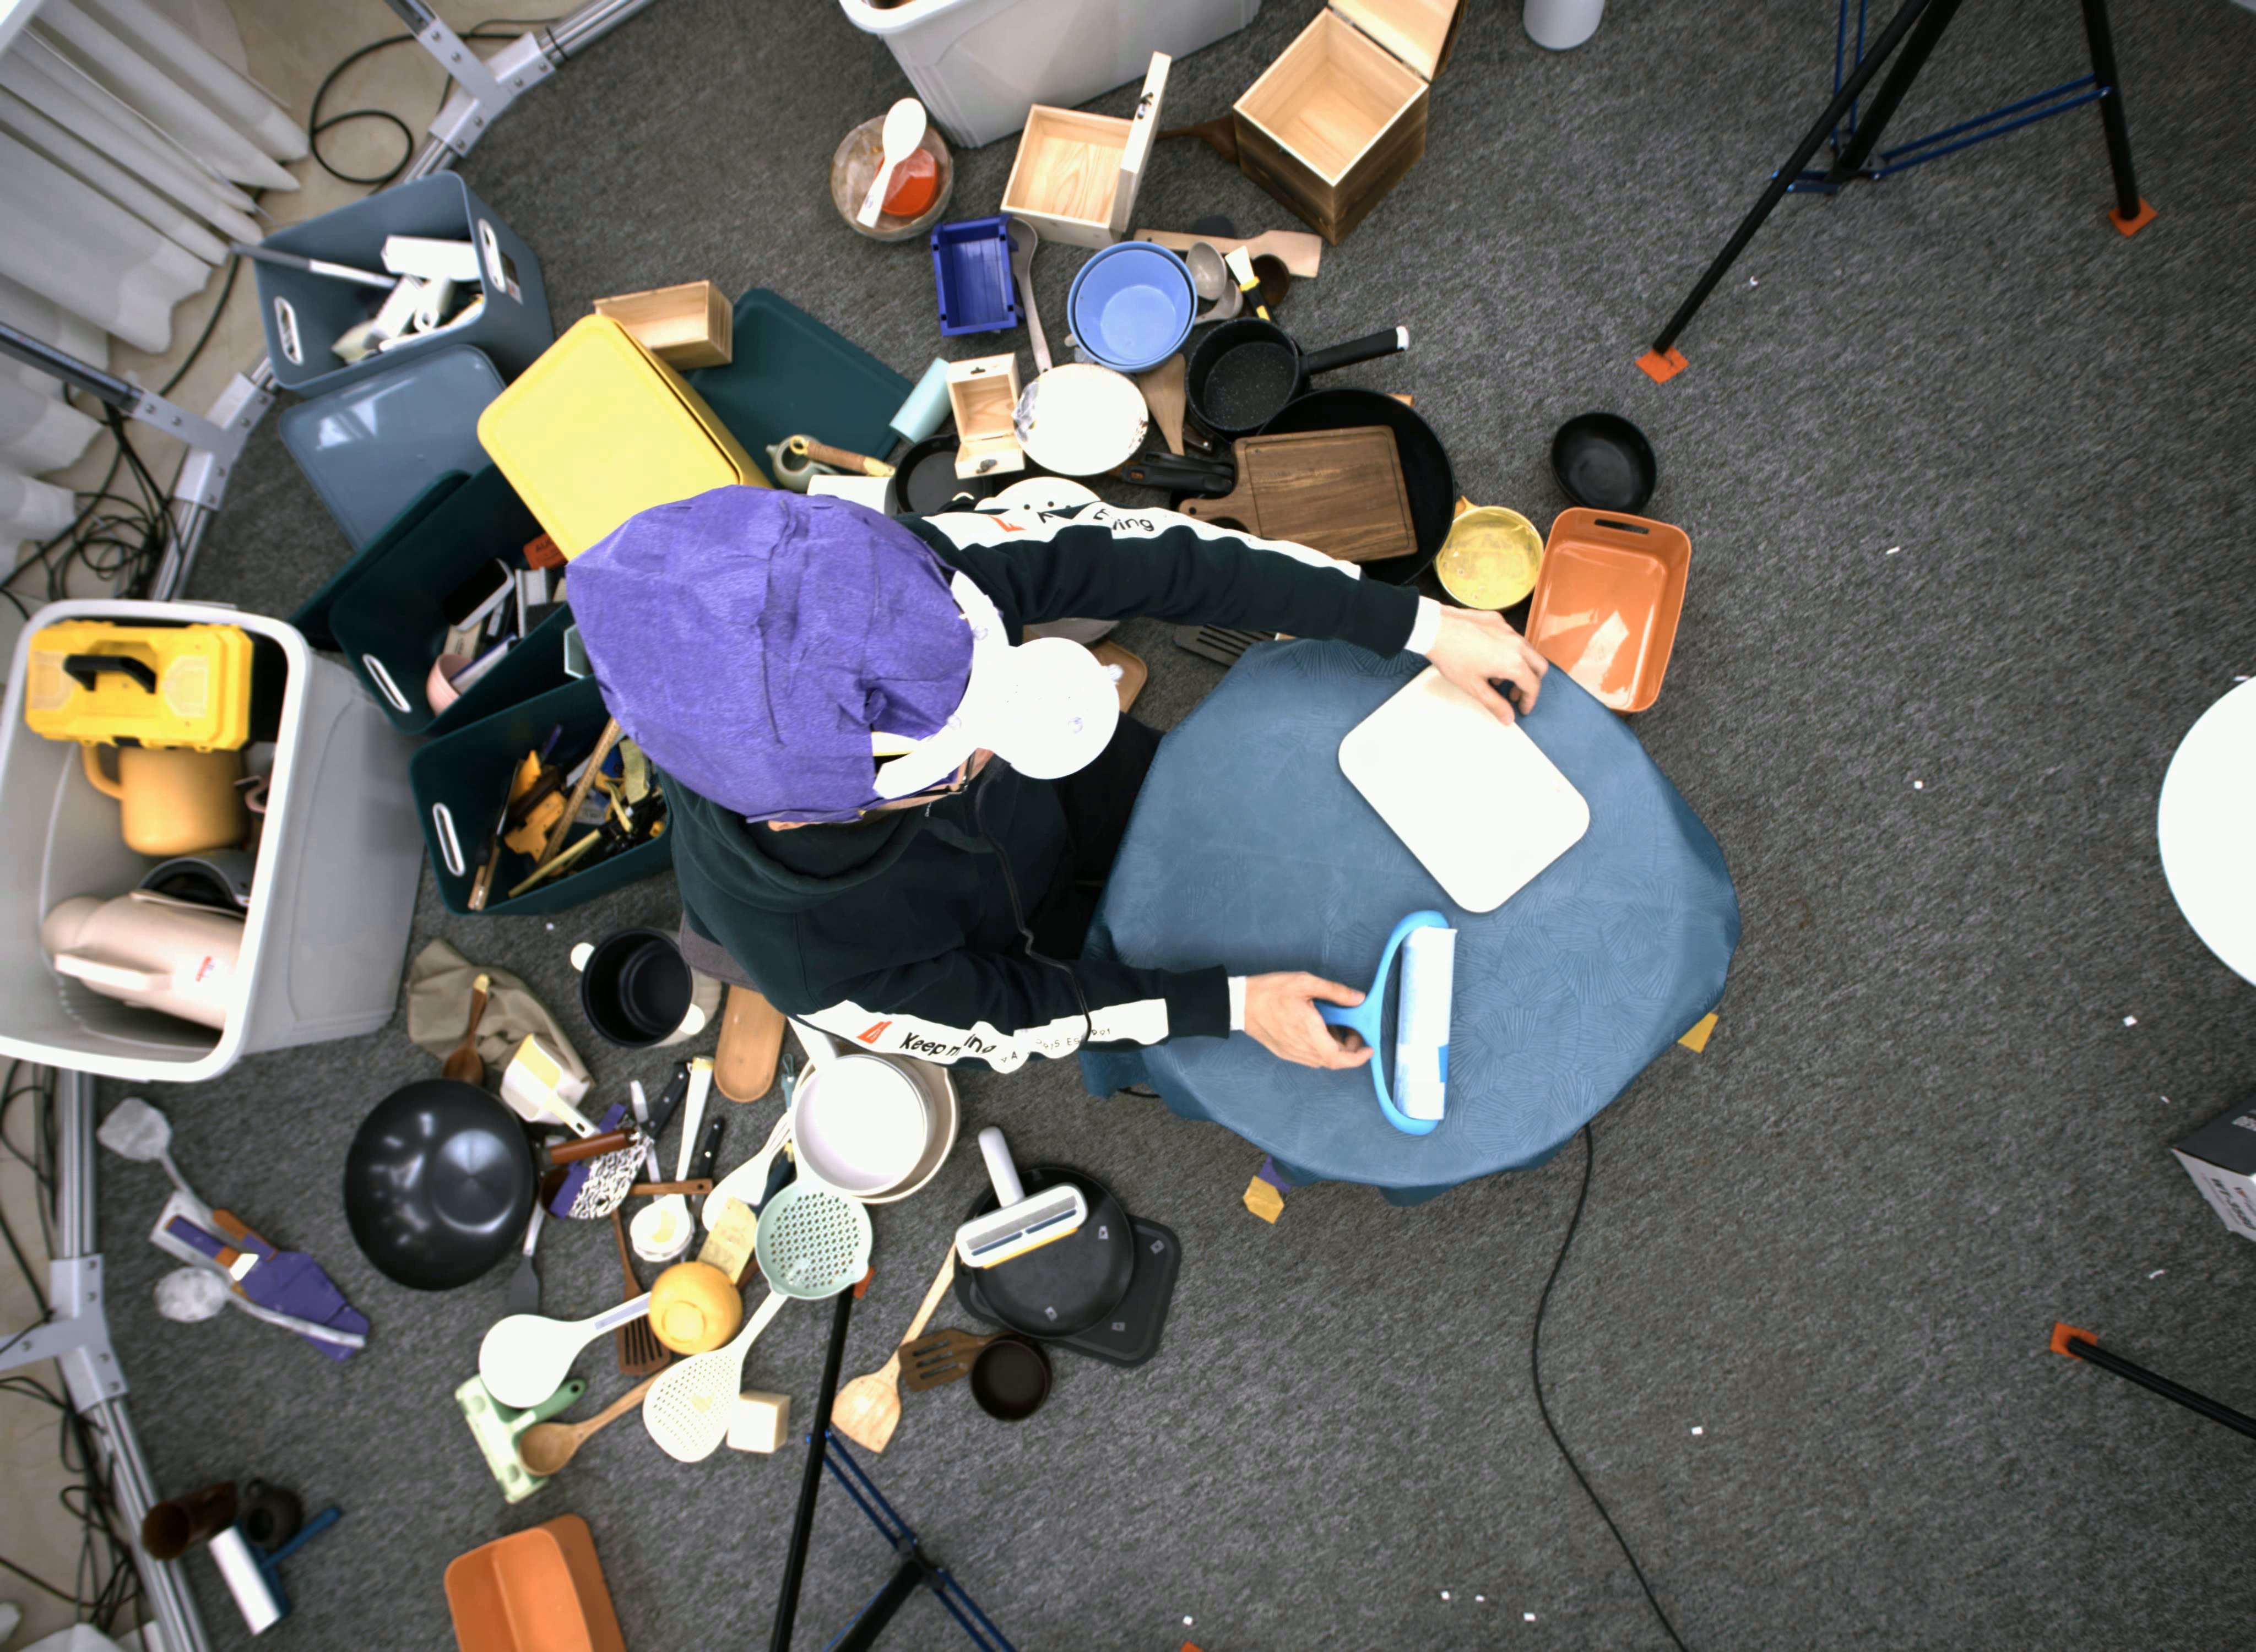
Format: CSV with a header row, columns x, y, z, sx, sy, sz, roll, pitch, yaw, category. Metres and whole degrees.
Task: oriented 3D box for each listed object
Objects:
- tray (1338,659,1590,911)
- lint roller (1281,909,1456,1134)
x,y,z,sx,sy,sz,roll,pitch,yaw,category
0.349,-0.045,1.438,0.172,0.017,0.238,-41,81,7,tray
0.246,0.198,1.424,0.181,0.068,0.228,0,88,10,lint roller
